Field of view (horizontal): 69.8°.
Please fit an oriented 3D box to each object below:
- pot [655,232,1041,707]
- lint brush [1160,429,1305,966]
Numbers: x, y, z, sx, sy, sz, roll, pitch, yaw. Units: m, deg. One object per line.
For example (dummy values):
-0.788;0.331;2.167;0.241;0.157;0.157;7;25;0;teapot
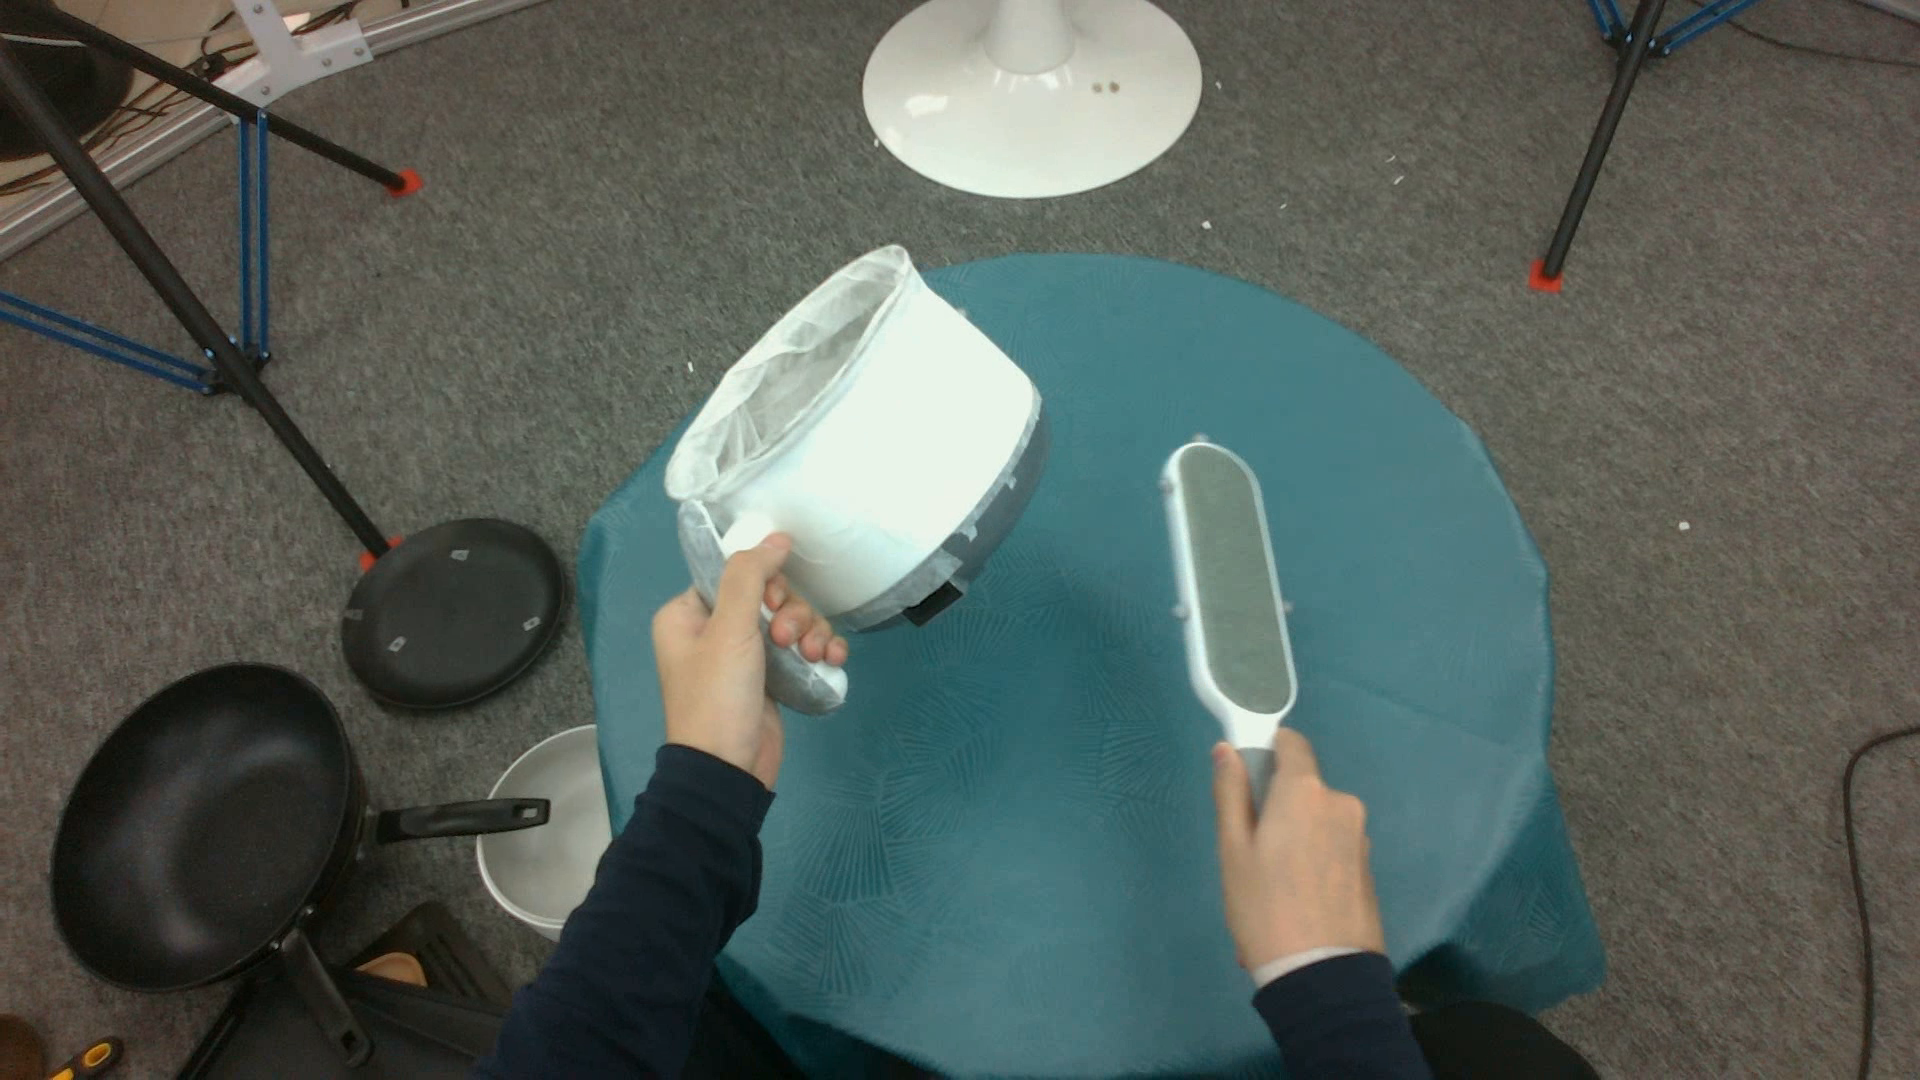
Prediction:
-0.065;-0.034;0.721;0.136;0.178;0.235;42;52;-22;pot
0.141;0.065;0.709;0.060;0.021;0.310;15;51;-22;lint brush
